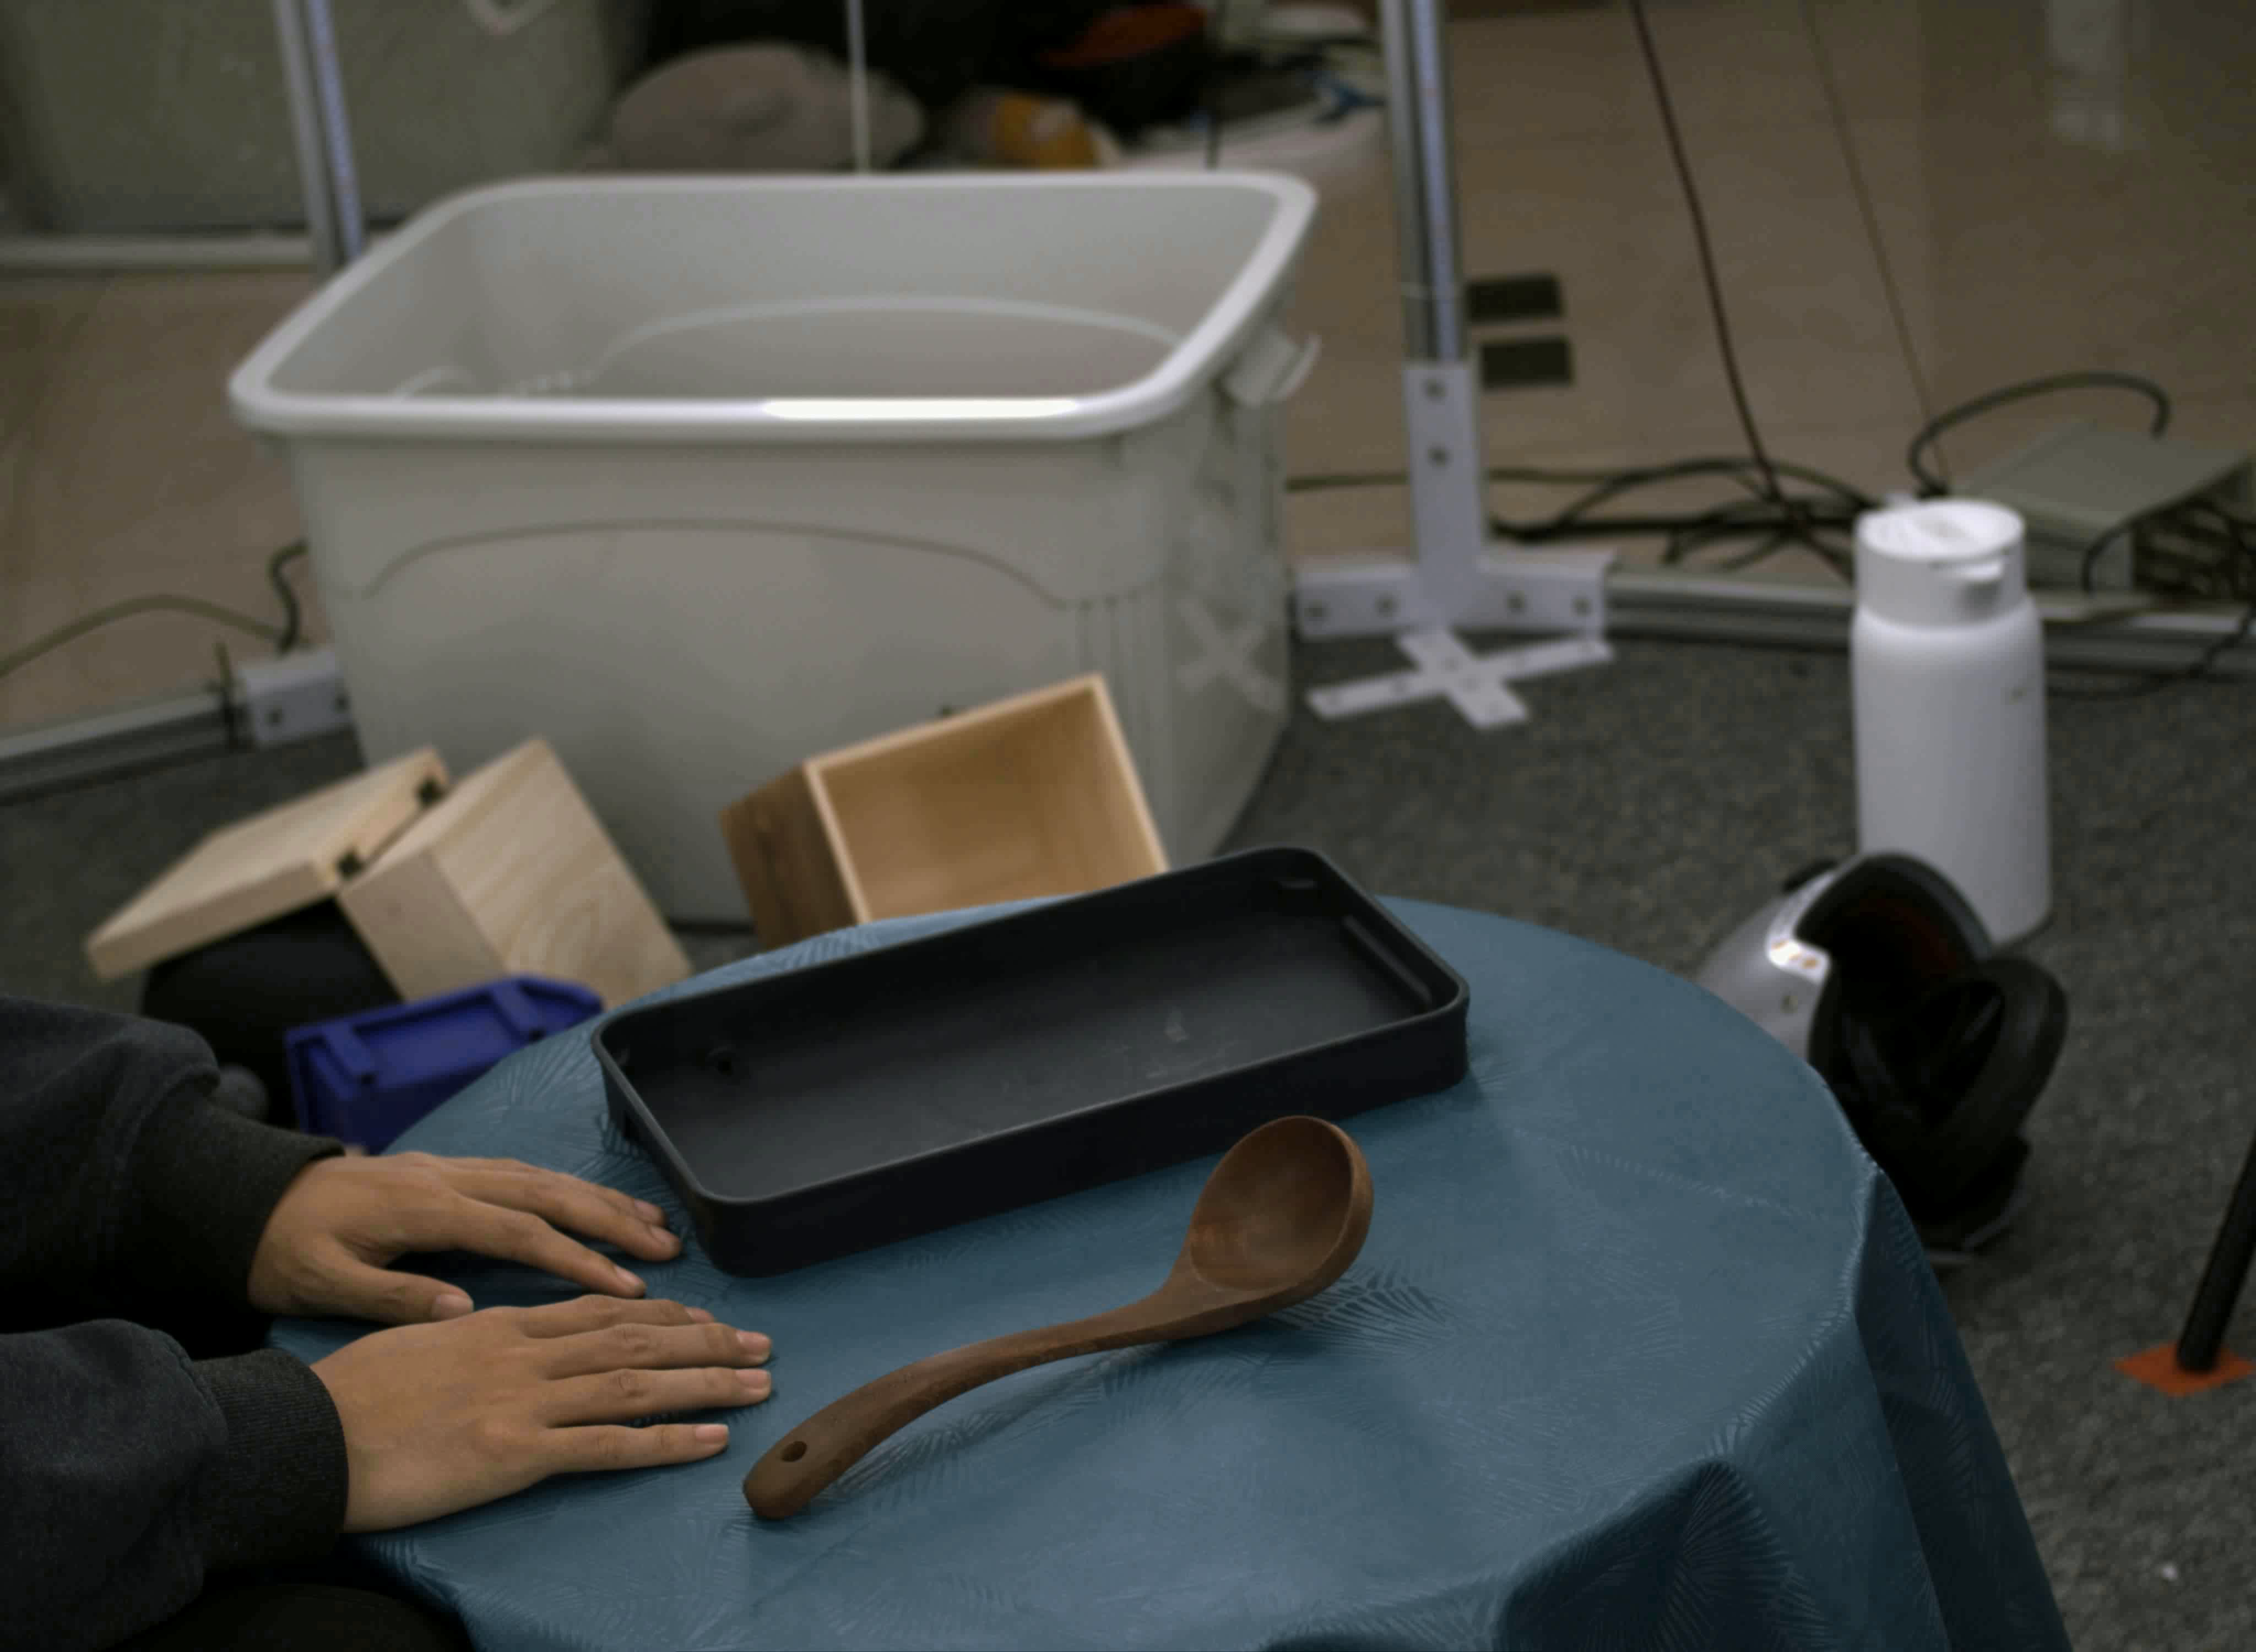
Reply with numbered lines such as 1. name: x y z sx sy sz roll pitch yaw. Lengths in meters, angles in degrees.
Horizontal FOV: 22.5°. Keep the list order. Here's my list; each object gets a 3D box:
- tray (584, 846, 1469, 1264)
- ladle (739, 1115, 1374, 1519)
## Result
1. tray: -0.040 0.086 2.221 0.317 0.037 0.182 -13 26 -17
2. ladle: -0.026 0.172 2.006 0.259 0.066 0.075 -20 29 -26
